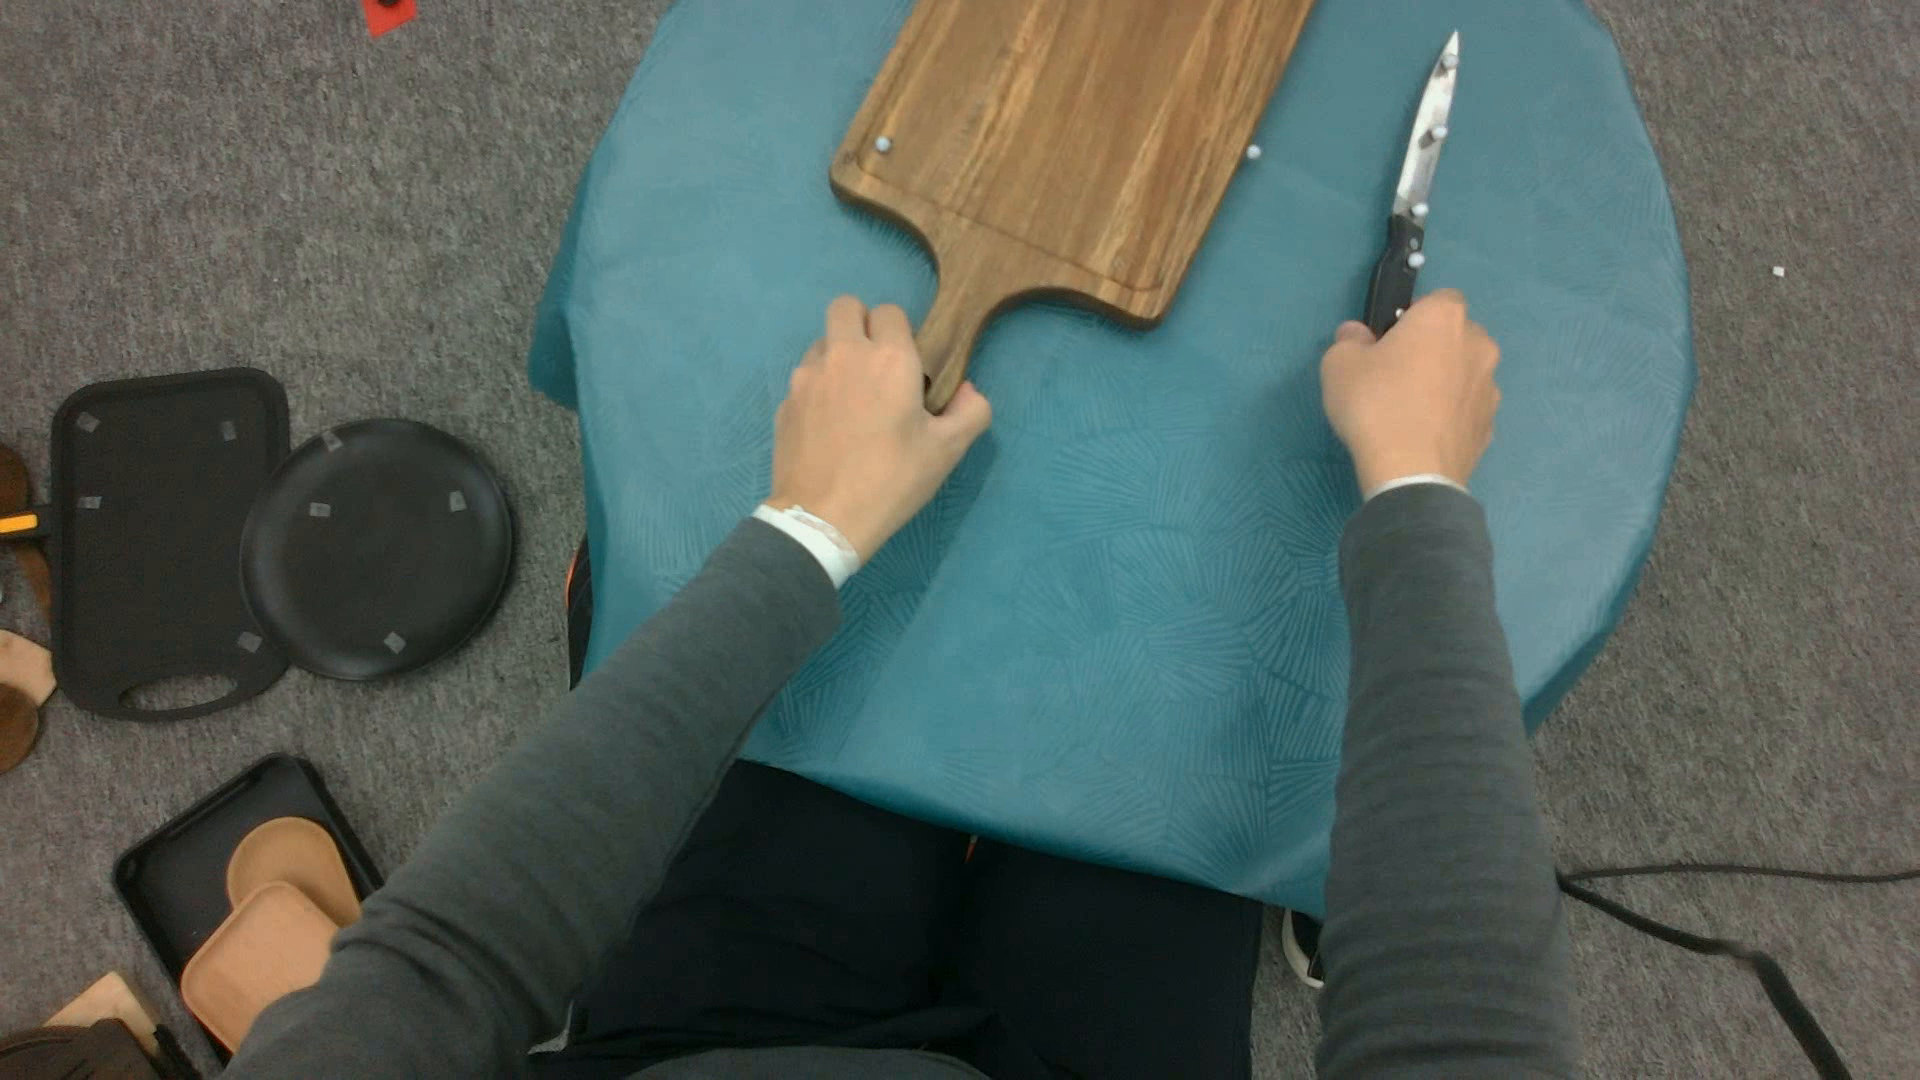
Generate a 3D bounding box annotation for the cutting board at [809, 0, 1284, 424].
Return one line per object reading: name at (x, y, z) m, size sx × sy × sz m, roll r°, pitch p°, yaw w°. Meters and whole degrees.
cutting board at (0.036, -0.221, 0.741) m, size 0.201 × 0.023 × 0.353 m, roll 24°, pitch 78°, yaw 4°

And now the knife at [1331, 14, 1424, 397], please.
knife at (0.230, -0.182, 0.739) m, size 0.024 × 0.016 × 0.239 m, roll 24°, pitch 72°, yaw -27°
